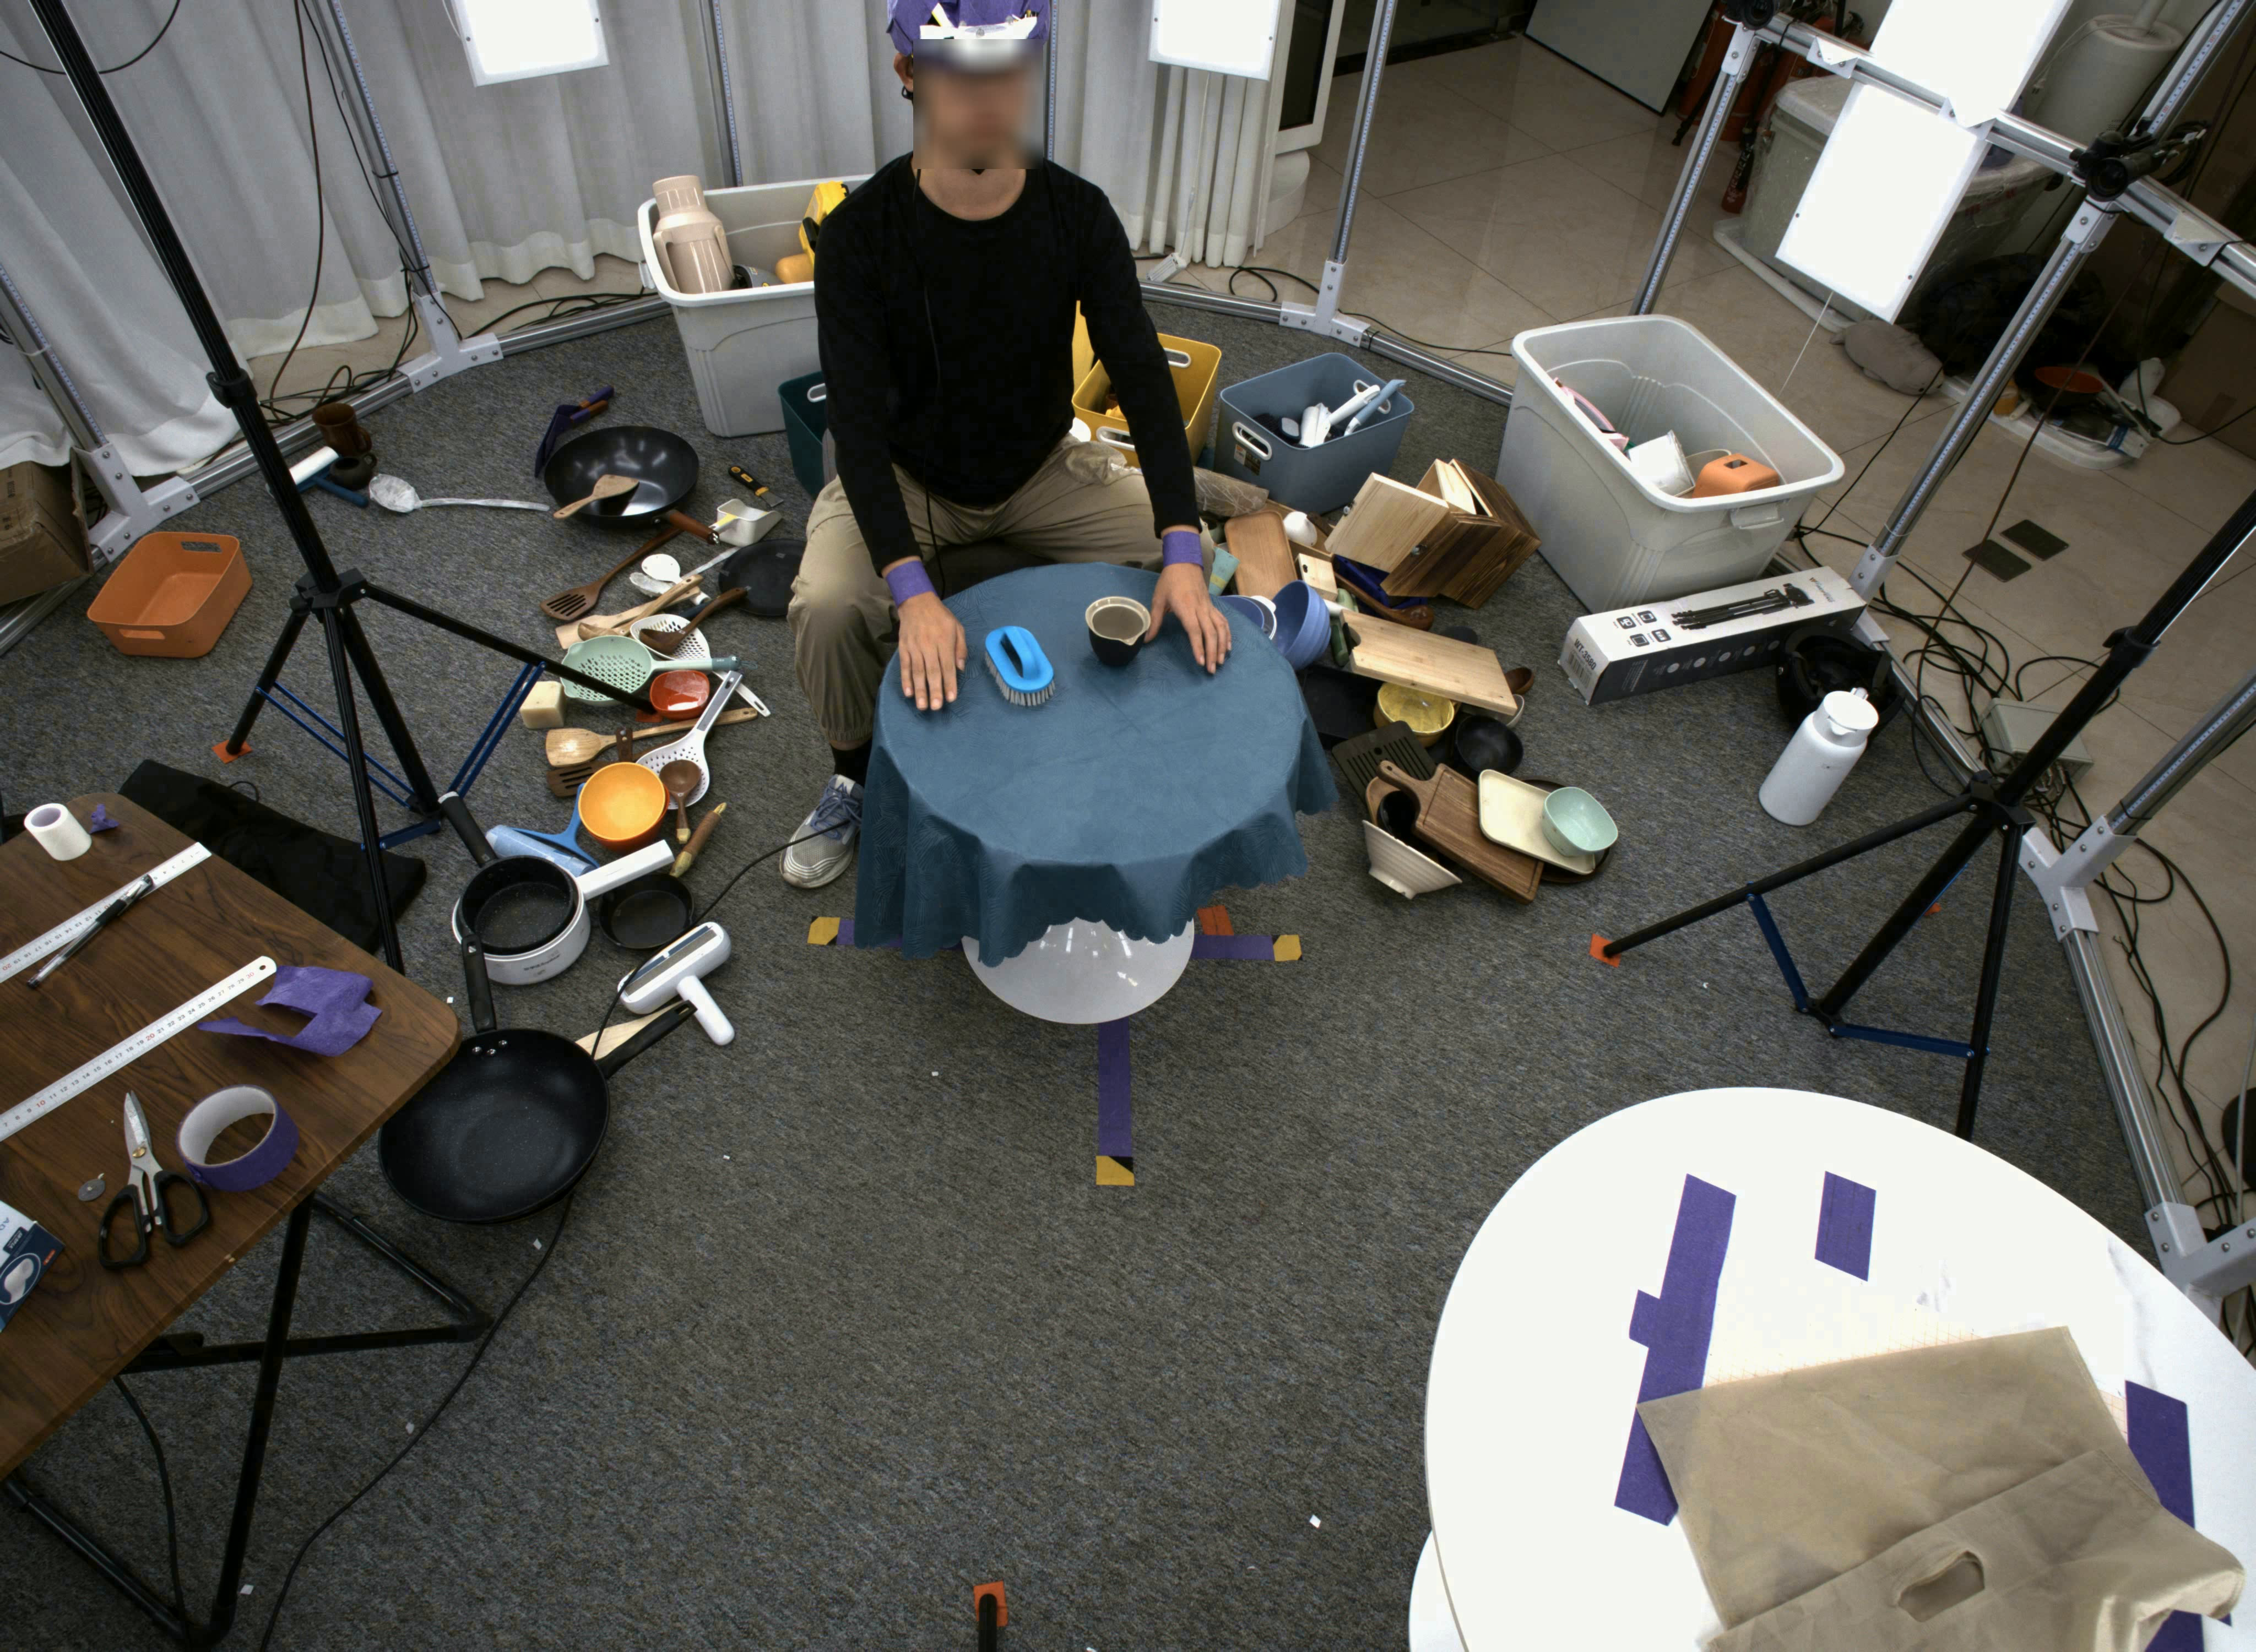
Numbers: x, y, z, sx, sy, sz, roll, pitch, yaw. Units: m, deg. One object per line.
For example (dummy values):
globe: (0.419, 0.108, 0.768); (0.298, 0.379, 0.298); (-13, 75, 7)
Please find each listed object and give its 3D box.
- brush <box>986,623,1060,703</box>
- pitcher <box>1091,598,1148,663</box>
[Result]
brush: (-0.152, -0.242, 1.824); (0.084, 0.062, 0.145); (-19, 52, -14)
pitcher: (-0.013, -0.276, 1.856); (0.083, 0.069, 0.098); (-8, 52, -12)
